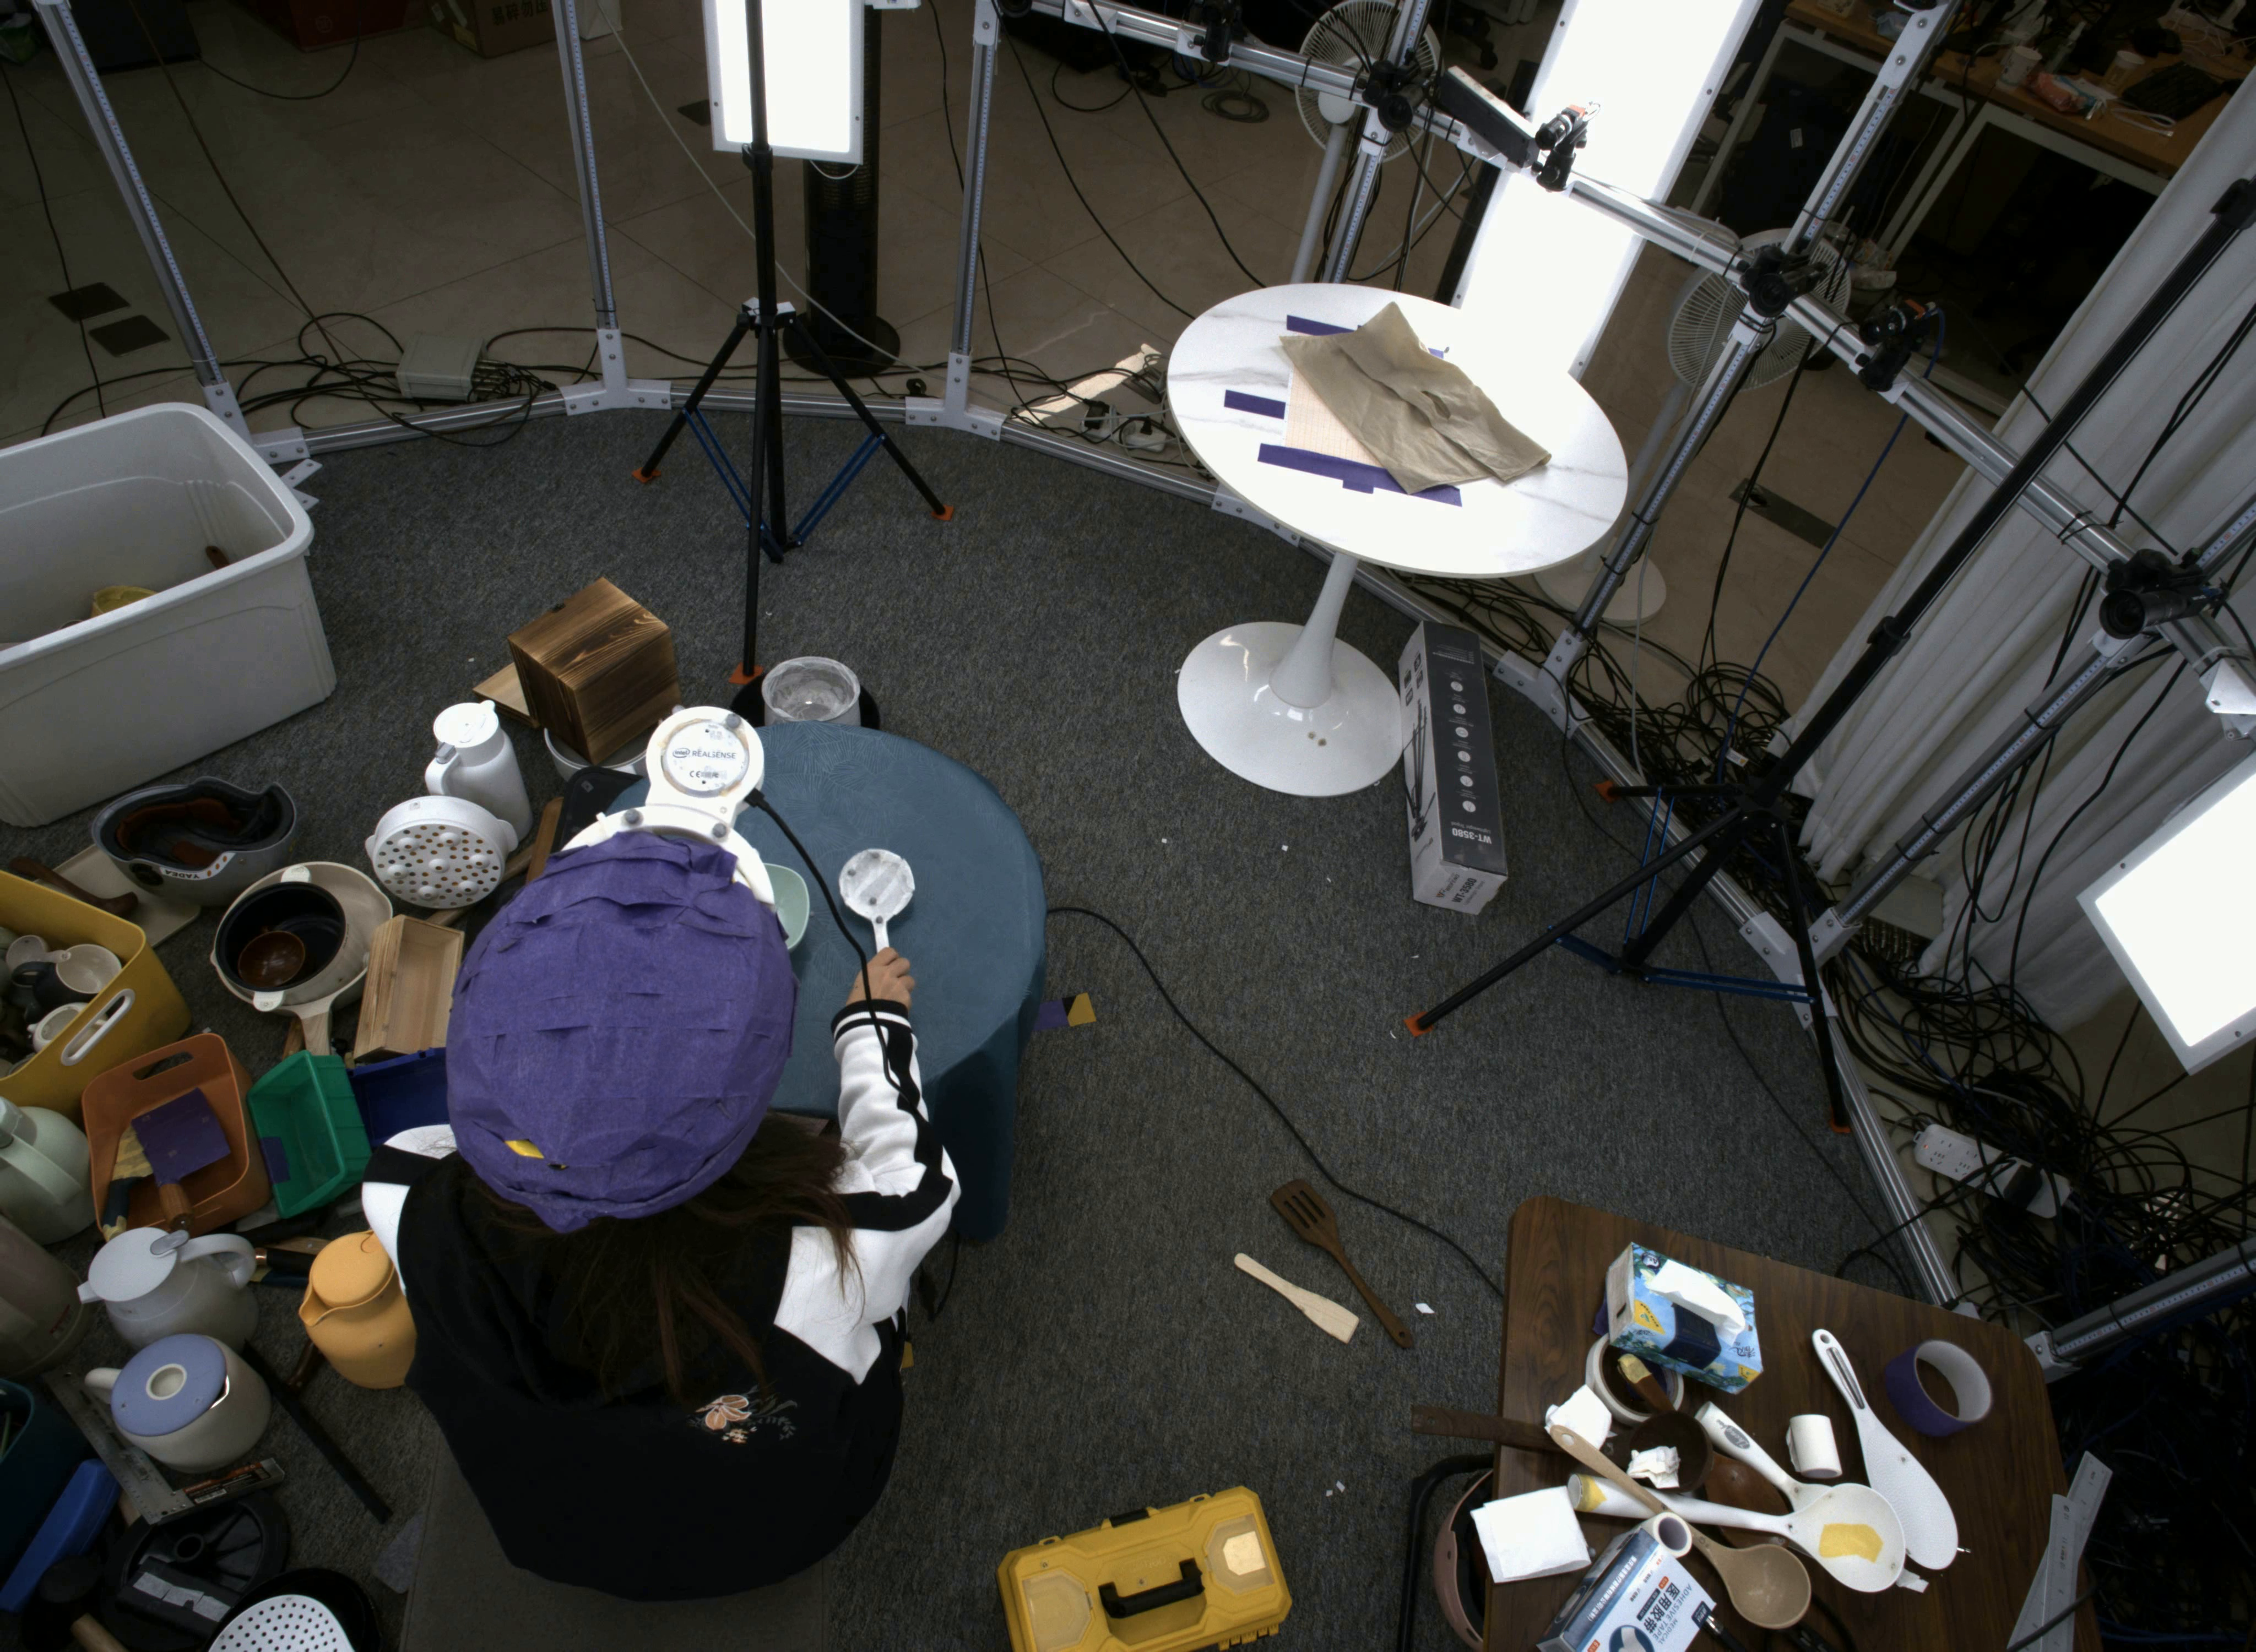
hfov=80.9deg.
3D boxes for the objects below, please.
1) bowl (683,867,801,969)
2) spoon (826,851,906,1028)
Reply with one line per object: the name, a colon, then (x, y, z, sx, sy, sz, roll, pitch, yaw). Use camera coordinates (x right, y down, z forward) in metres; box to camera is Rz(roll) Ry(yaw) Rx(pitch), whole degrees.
bowl: (-0.470, 0.121, 1.582, 0.151, 0.060, 0.149, 8, 52, -8)
spoon: (-0.315, 0.130, 1.573, 0.100, 0.061, 0.269, -5, 35, -9)
